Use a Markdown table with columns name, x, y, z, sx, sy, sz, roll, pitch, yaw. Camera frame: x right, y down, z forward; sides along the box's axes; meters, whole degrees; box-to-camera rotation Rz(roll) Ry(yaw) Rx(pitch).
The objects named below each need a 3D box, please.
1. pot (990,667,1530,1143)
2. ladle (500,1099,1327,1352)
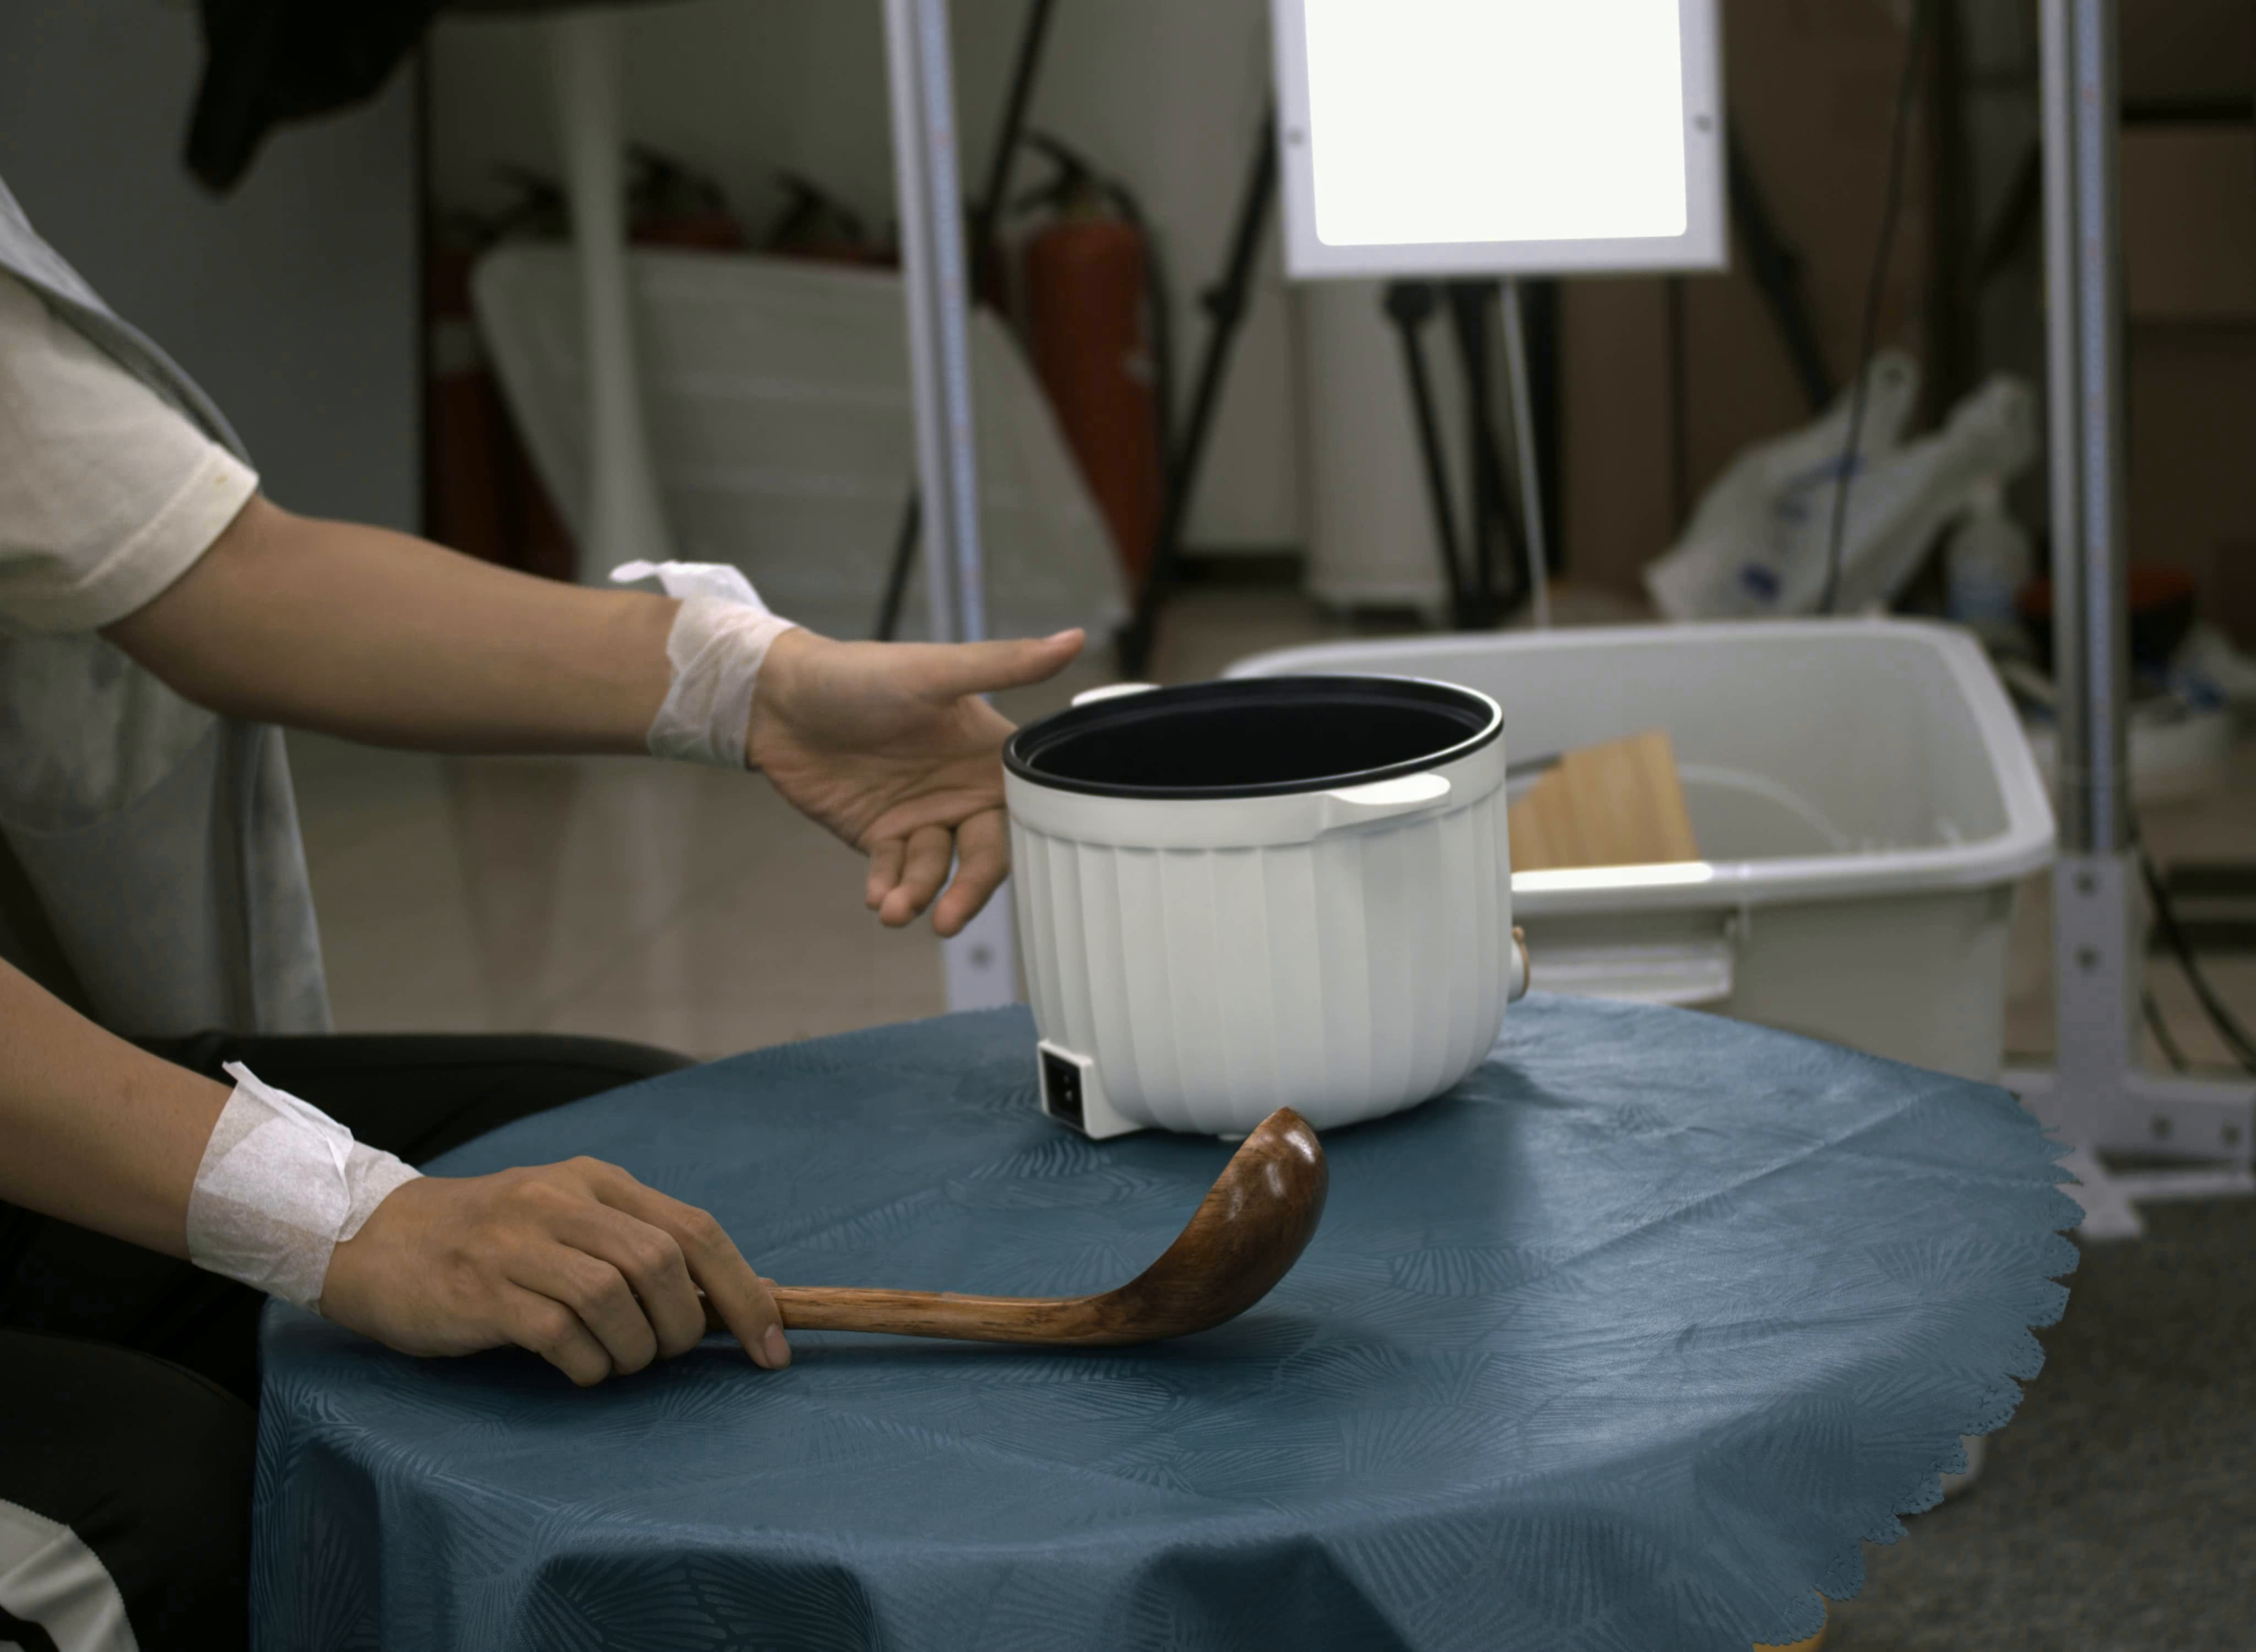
| name | x | y | z | sx | sy | sz | roll | pitch | yaw |
| --- | --- | --- | --- | --- | --- | --- | --- | --- | --- |
| pot | 0.054 | 0.028 | 1.988 | 0.187 | 0.143 | 0.244 | -15 | 18 | -24 |
| ladle | -0.071 | 0.128 | 1.755 | 0.277 | 0.077 | 0.081 | -2 | -8 | 16 |
